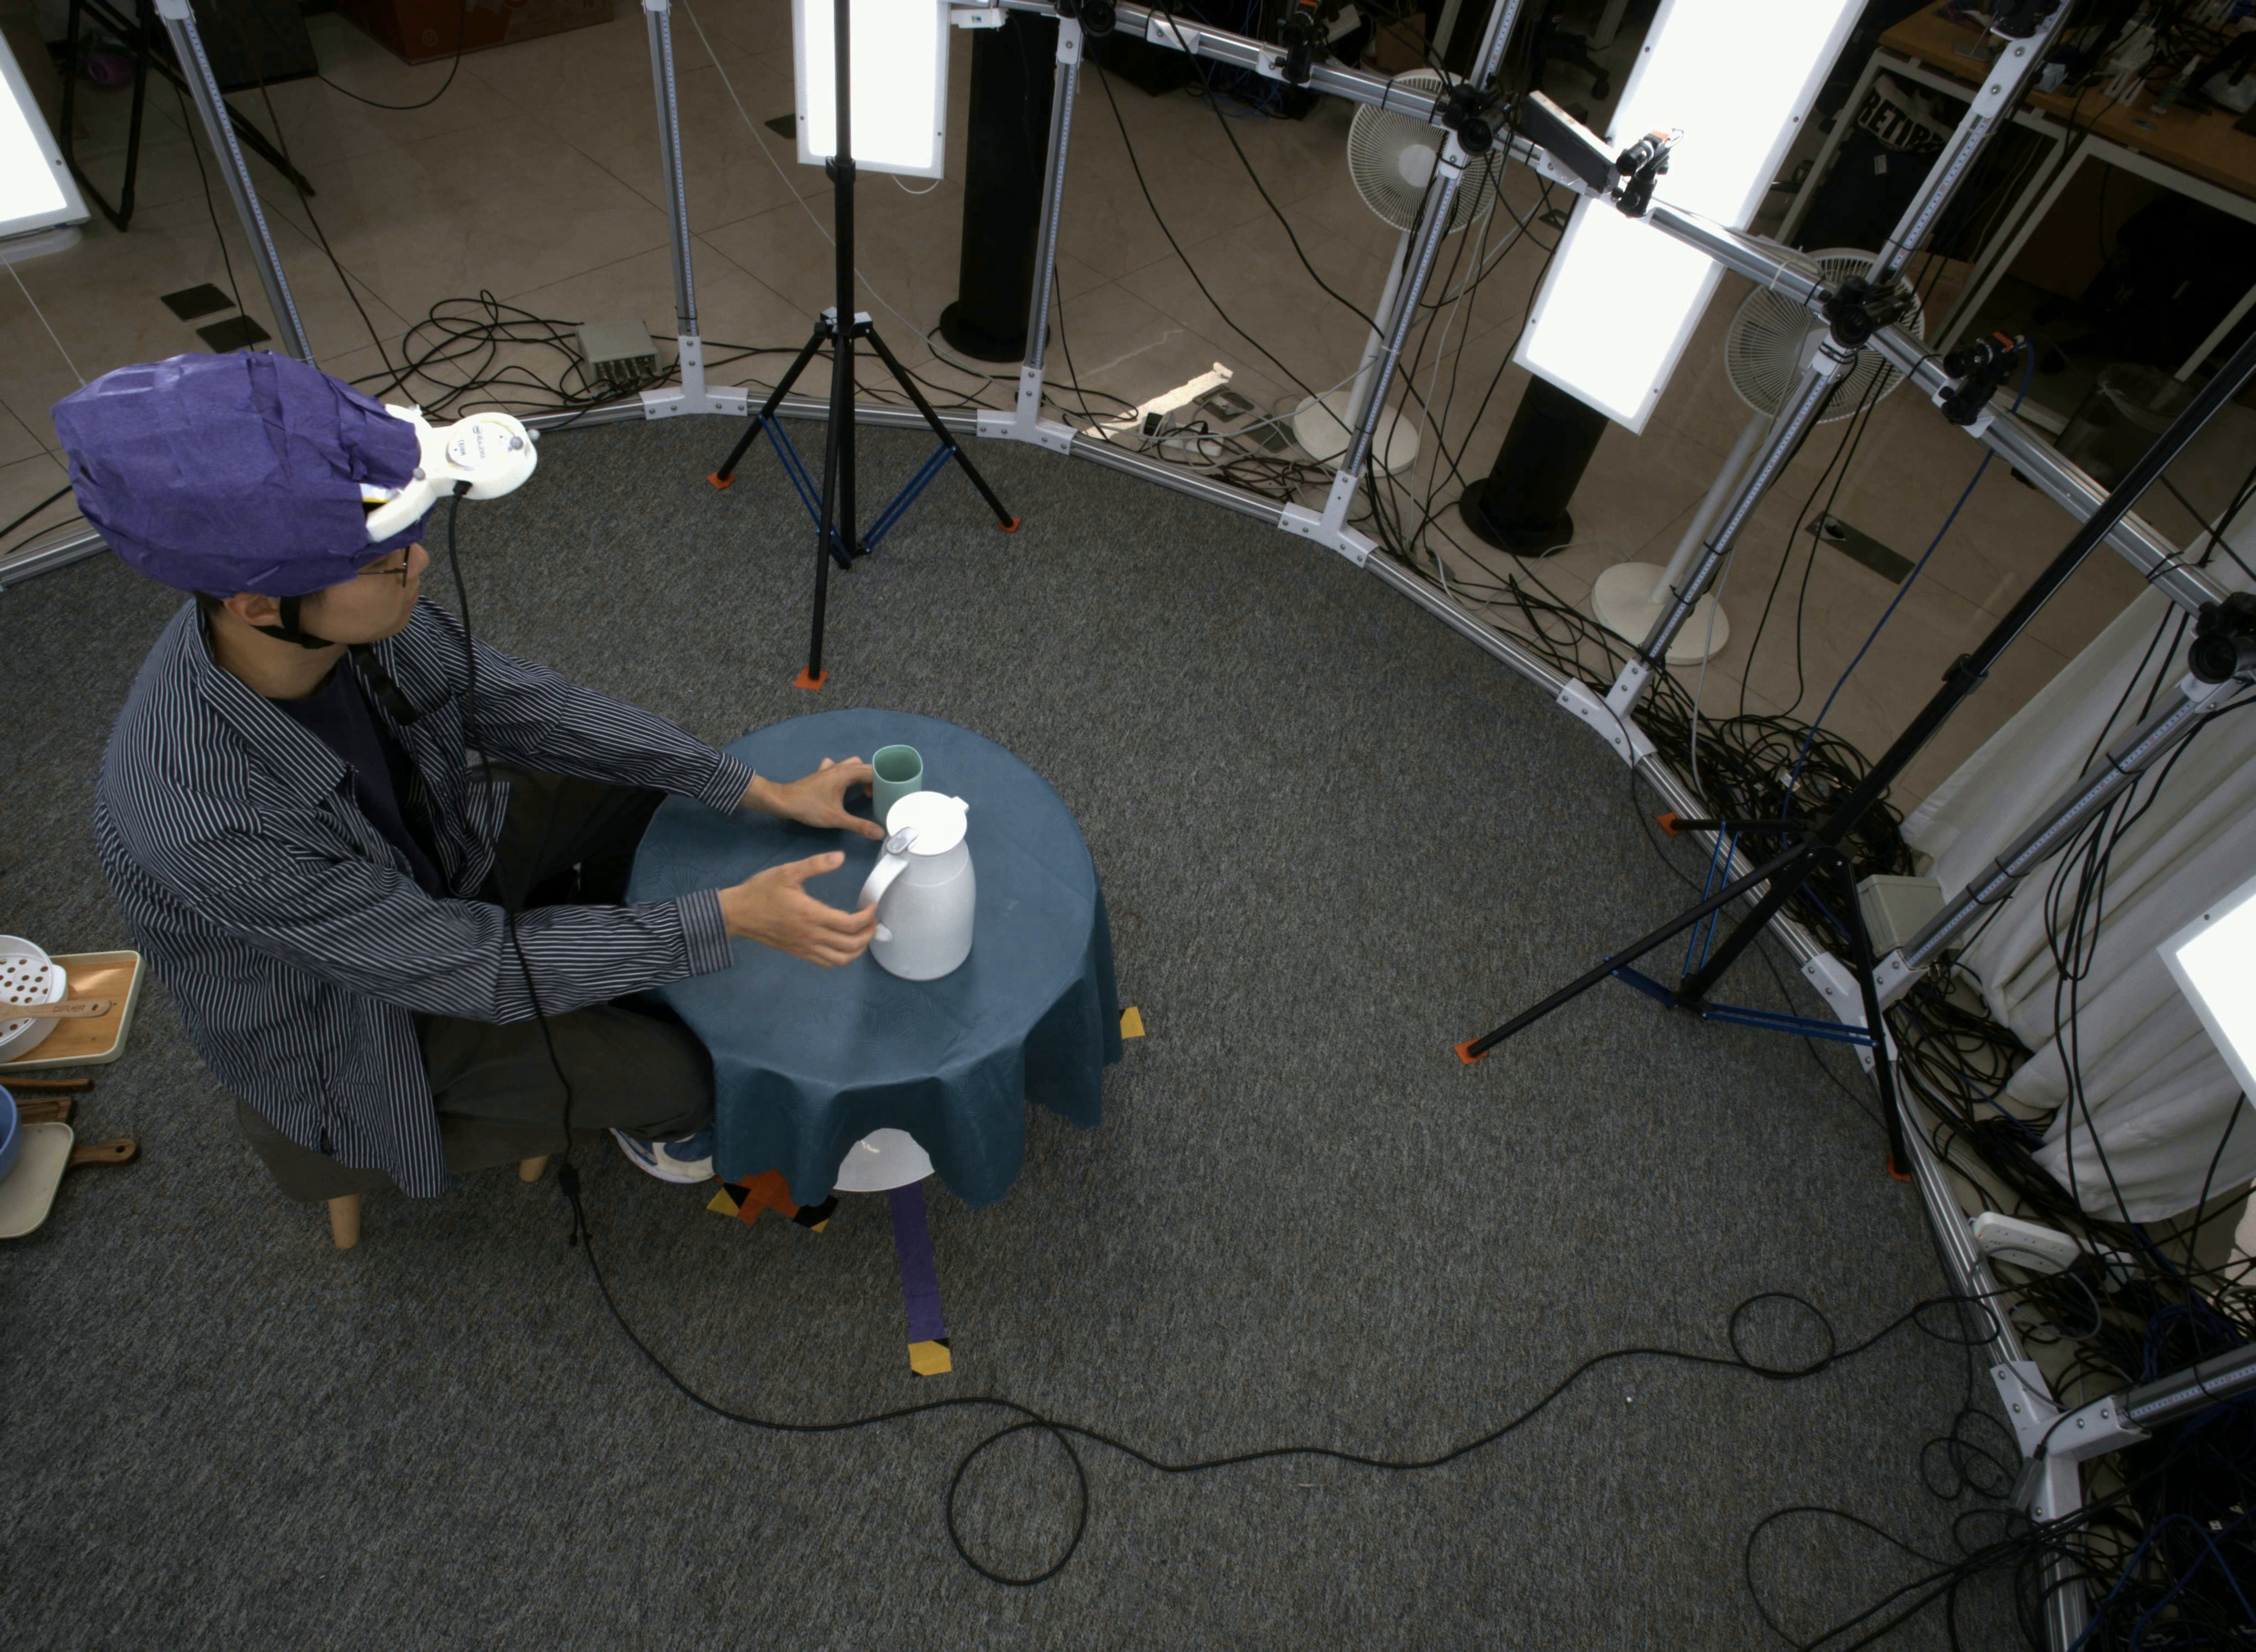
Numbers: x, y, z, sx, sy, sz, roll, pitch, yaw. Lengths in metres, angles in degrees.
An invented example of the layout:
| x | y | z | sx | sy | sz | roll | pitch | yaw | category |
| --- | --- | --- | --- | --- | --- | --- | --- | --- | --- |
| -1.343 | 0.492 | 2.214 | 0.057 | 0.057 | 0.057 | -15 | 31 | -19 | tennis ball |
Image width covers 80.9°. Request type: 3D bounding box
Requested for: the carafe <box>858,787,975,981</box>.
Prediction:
| x | y | z | sx | sy | sz | roll | pitch | yaw | category |
| --- | --- | --- | --- | --- | --- | --- | --- | --- | --- |
| -0.258 | 0.075 | 1.560 | 0.130 | 0.254 | 0.167 | 33 | 55 | 14 | carafe |

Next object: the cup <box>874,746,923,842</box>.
| x | y | z | sx | sy | sz | roll | pitch | yaw | category |
| --- | --- | --- | --- | --- | --- | --- | --- | --- | --- |
| -0.306 | -0.038 | 1.718 | 0.066 | 0.135 | 0.065 | 6 | 51 | -7 | cup |
